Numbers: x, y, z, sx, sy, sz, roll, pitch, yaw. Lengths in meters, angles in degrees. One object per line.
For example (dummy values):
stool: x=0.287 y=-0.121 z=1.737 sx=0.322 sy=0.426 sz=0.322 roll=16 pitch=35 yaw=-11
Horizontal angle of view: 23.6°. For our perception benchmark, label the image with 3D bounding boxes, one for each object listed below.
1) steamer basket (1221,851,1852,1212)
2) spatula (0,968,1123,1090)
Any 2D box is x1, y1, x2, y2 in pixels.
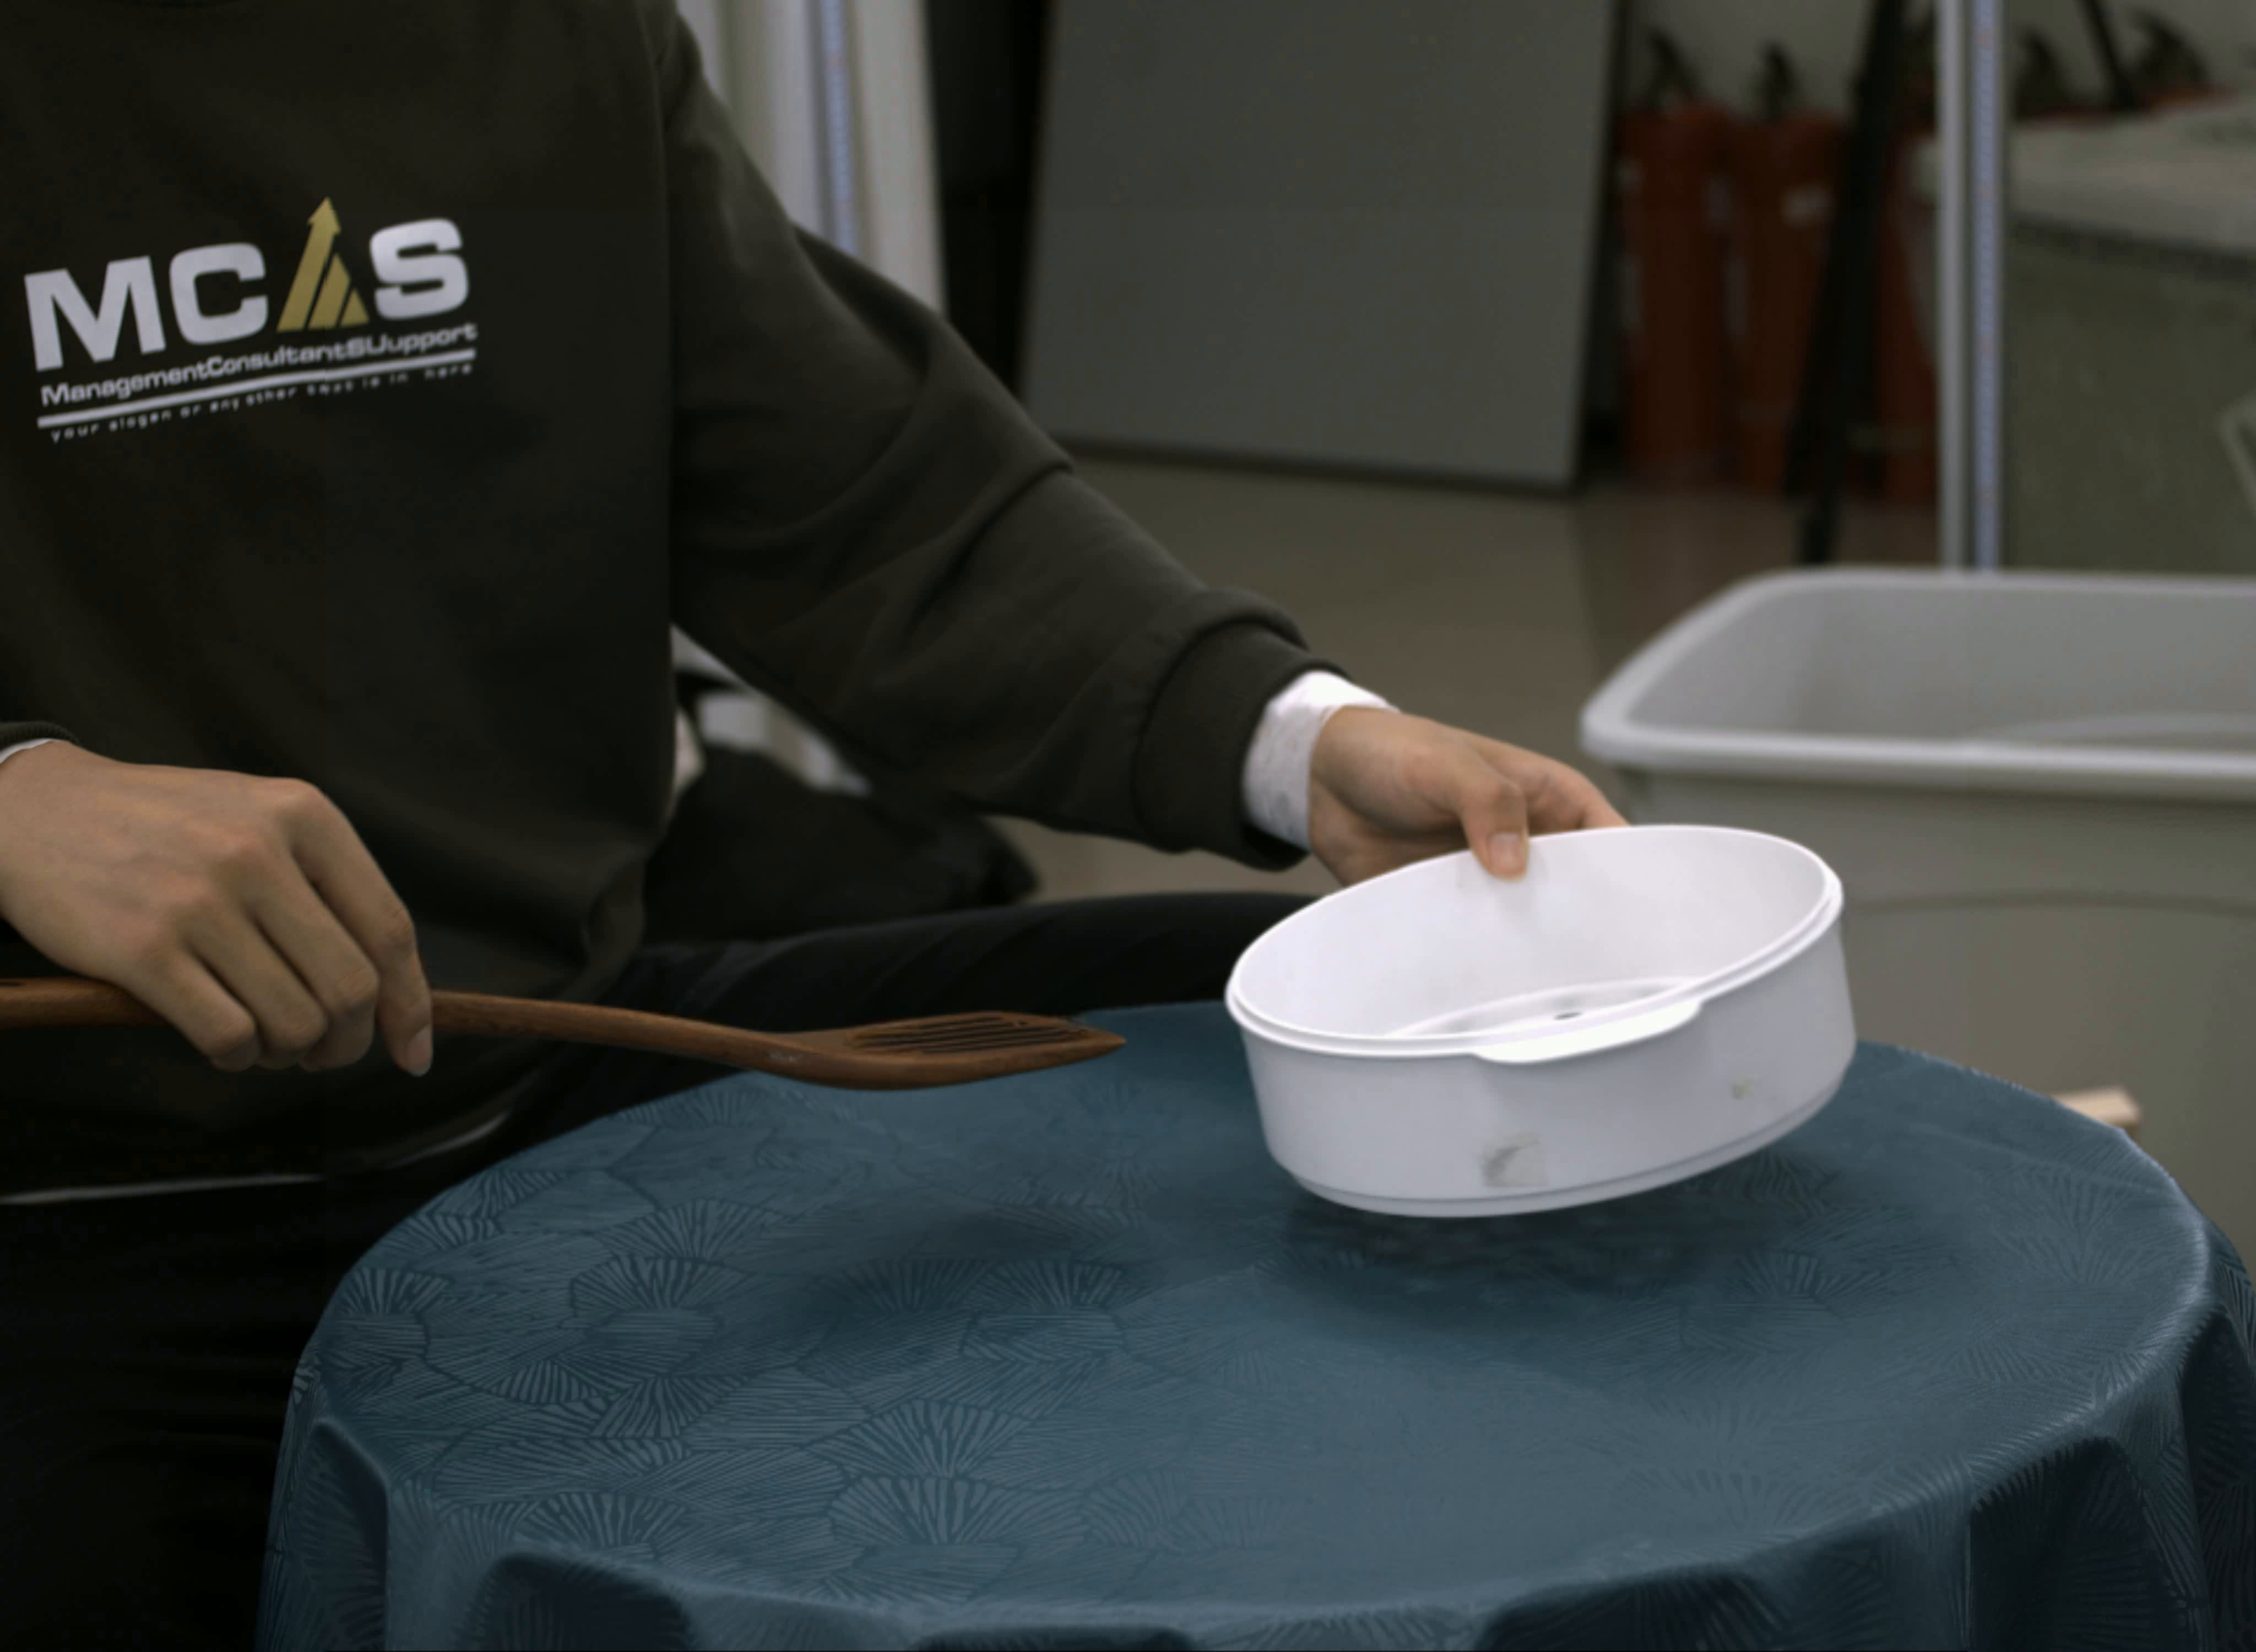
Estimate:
steamer basket: x=0.132 y=0.066 z=1.715 sx=0.199 sy=0.070 sz=0.231 roll=-11 pitch=11 yaw=-1
spatula: x=-0.175 y=0.062 z=1.654 sx=0.376 sy=0.024 sz=0.087 roll=5 pitch=2 yaw=-32
